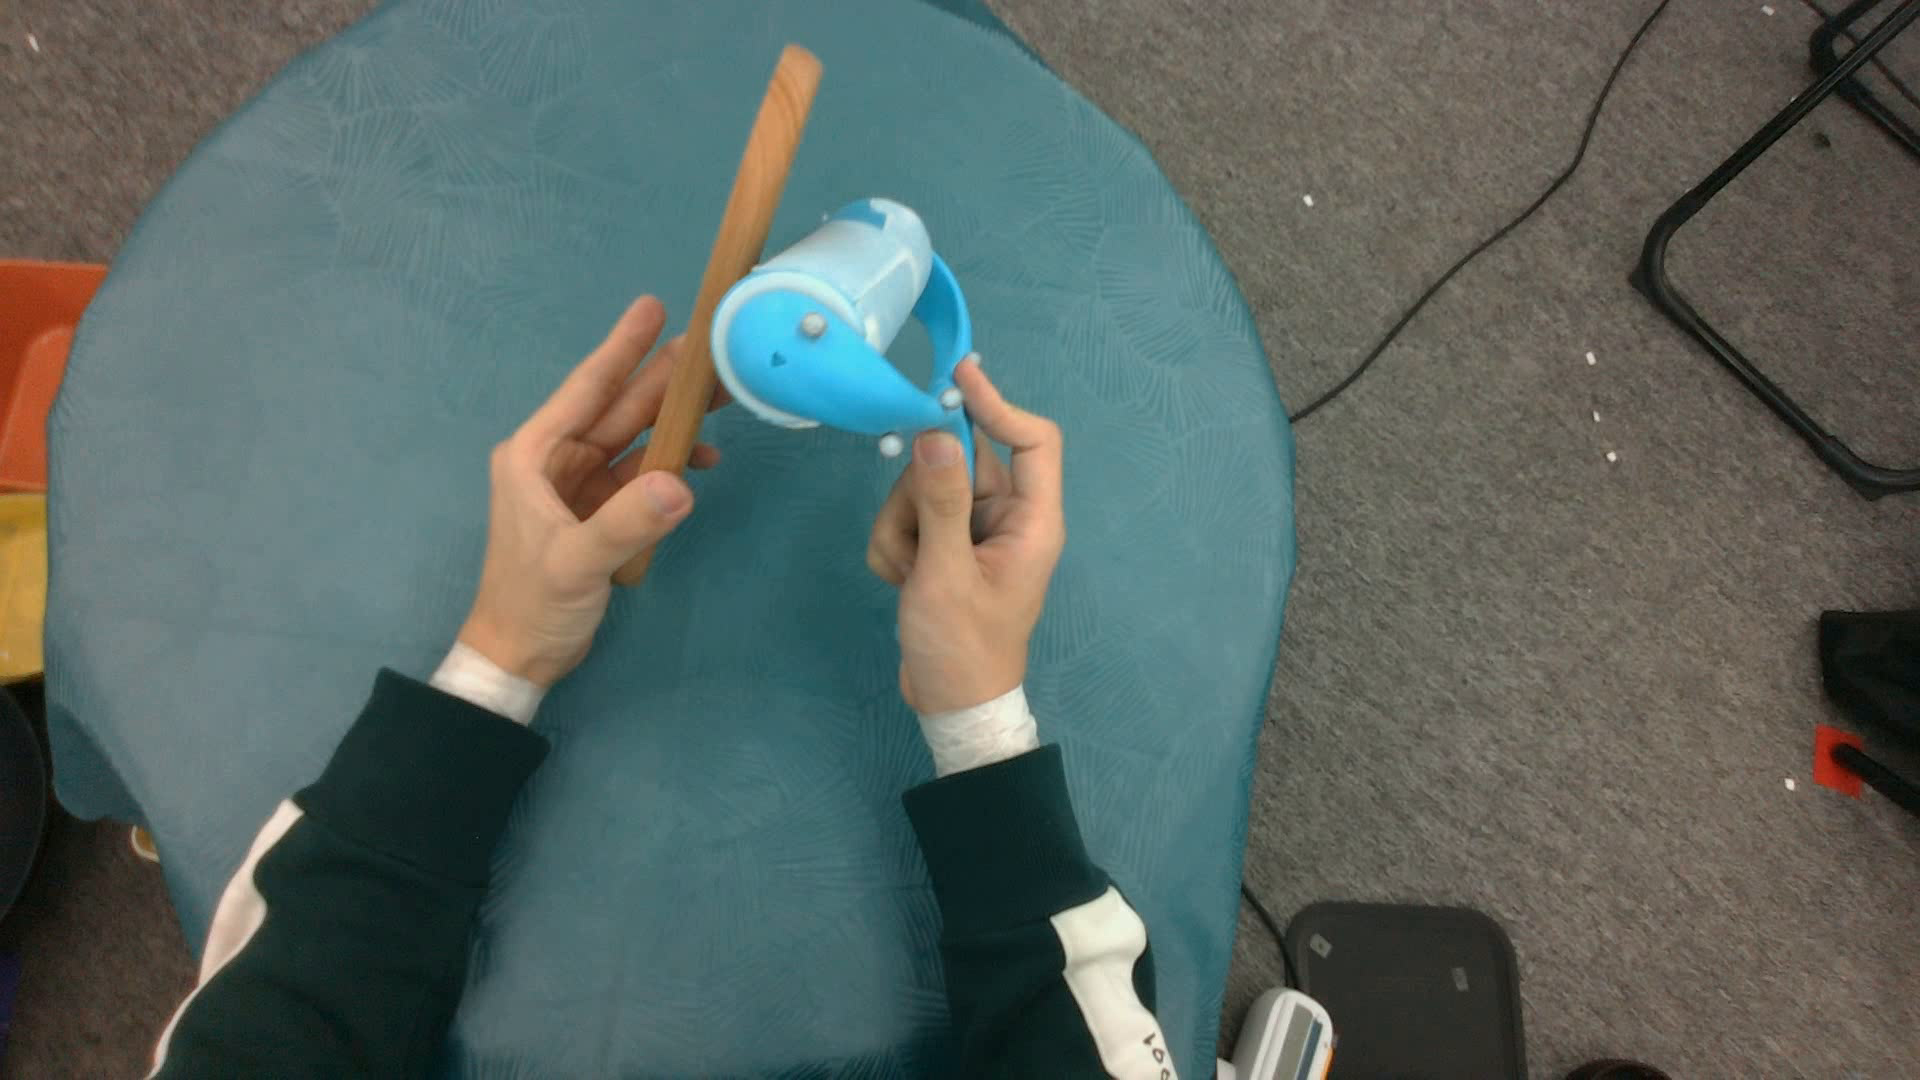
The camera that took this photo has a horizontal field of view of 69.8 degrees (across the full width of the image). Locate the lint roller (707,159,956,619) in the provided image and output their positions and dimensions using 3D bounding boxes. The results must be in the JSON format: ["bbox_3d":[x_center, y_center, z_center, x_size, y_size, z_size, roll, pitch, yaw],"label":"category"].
[{"bbox_3d":[-0.032,-0.056,0.555,0.068,0.230,0.180,-16,112,8],"label":"lint roller"}]

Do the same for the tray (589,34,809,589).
[{"bbox_3d":[-0.103,-0.082,0.536,0.020,0.230,0.102,18,25,-11],"label":"tray"}]
